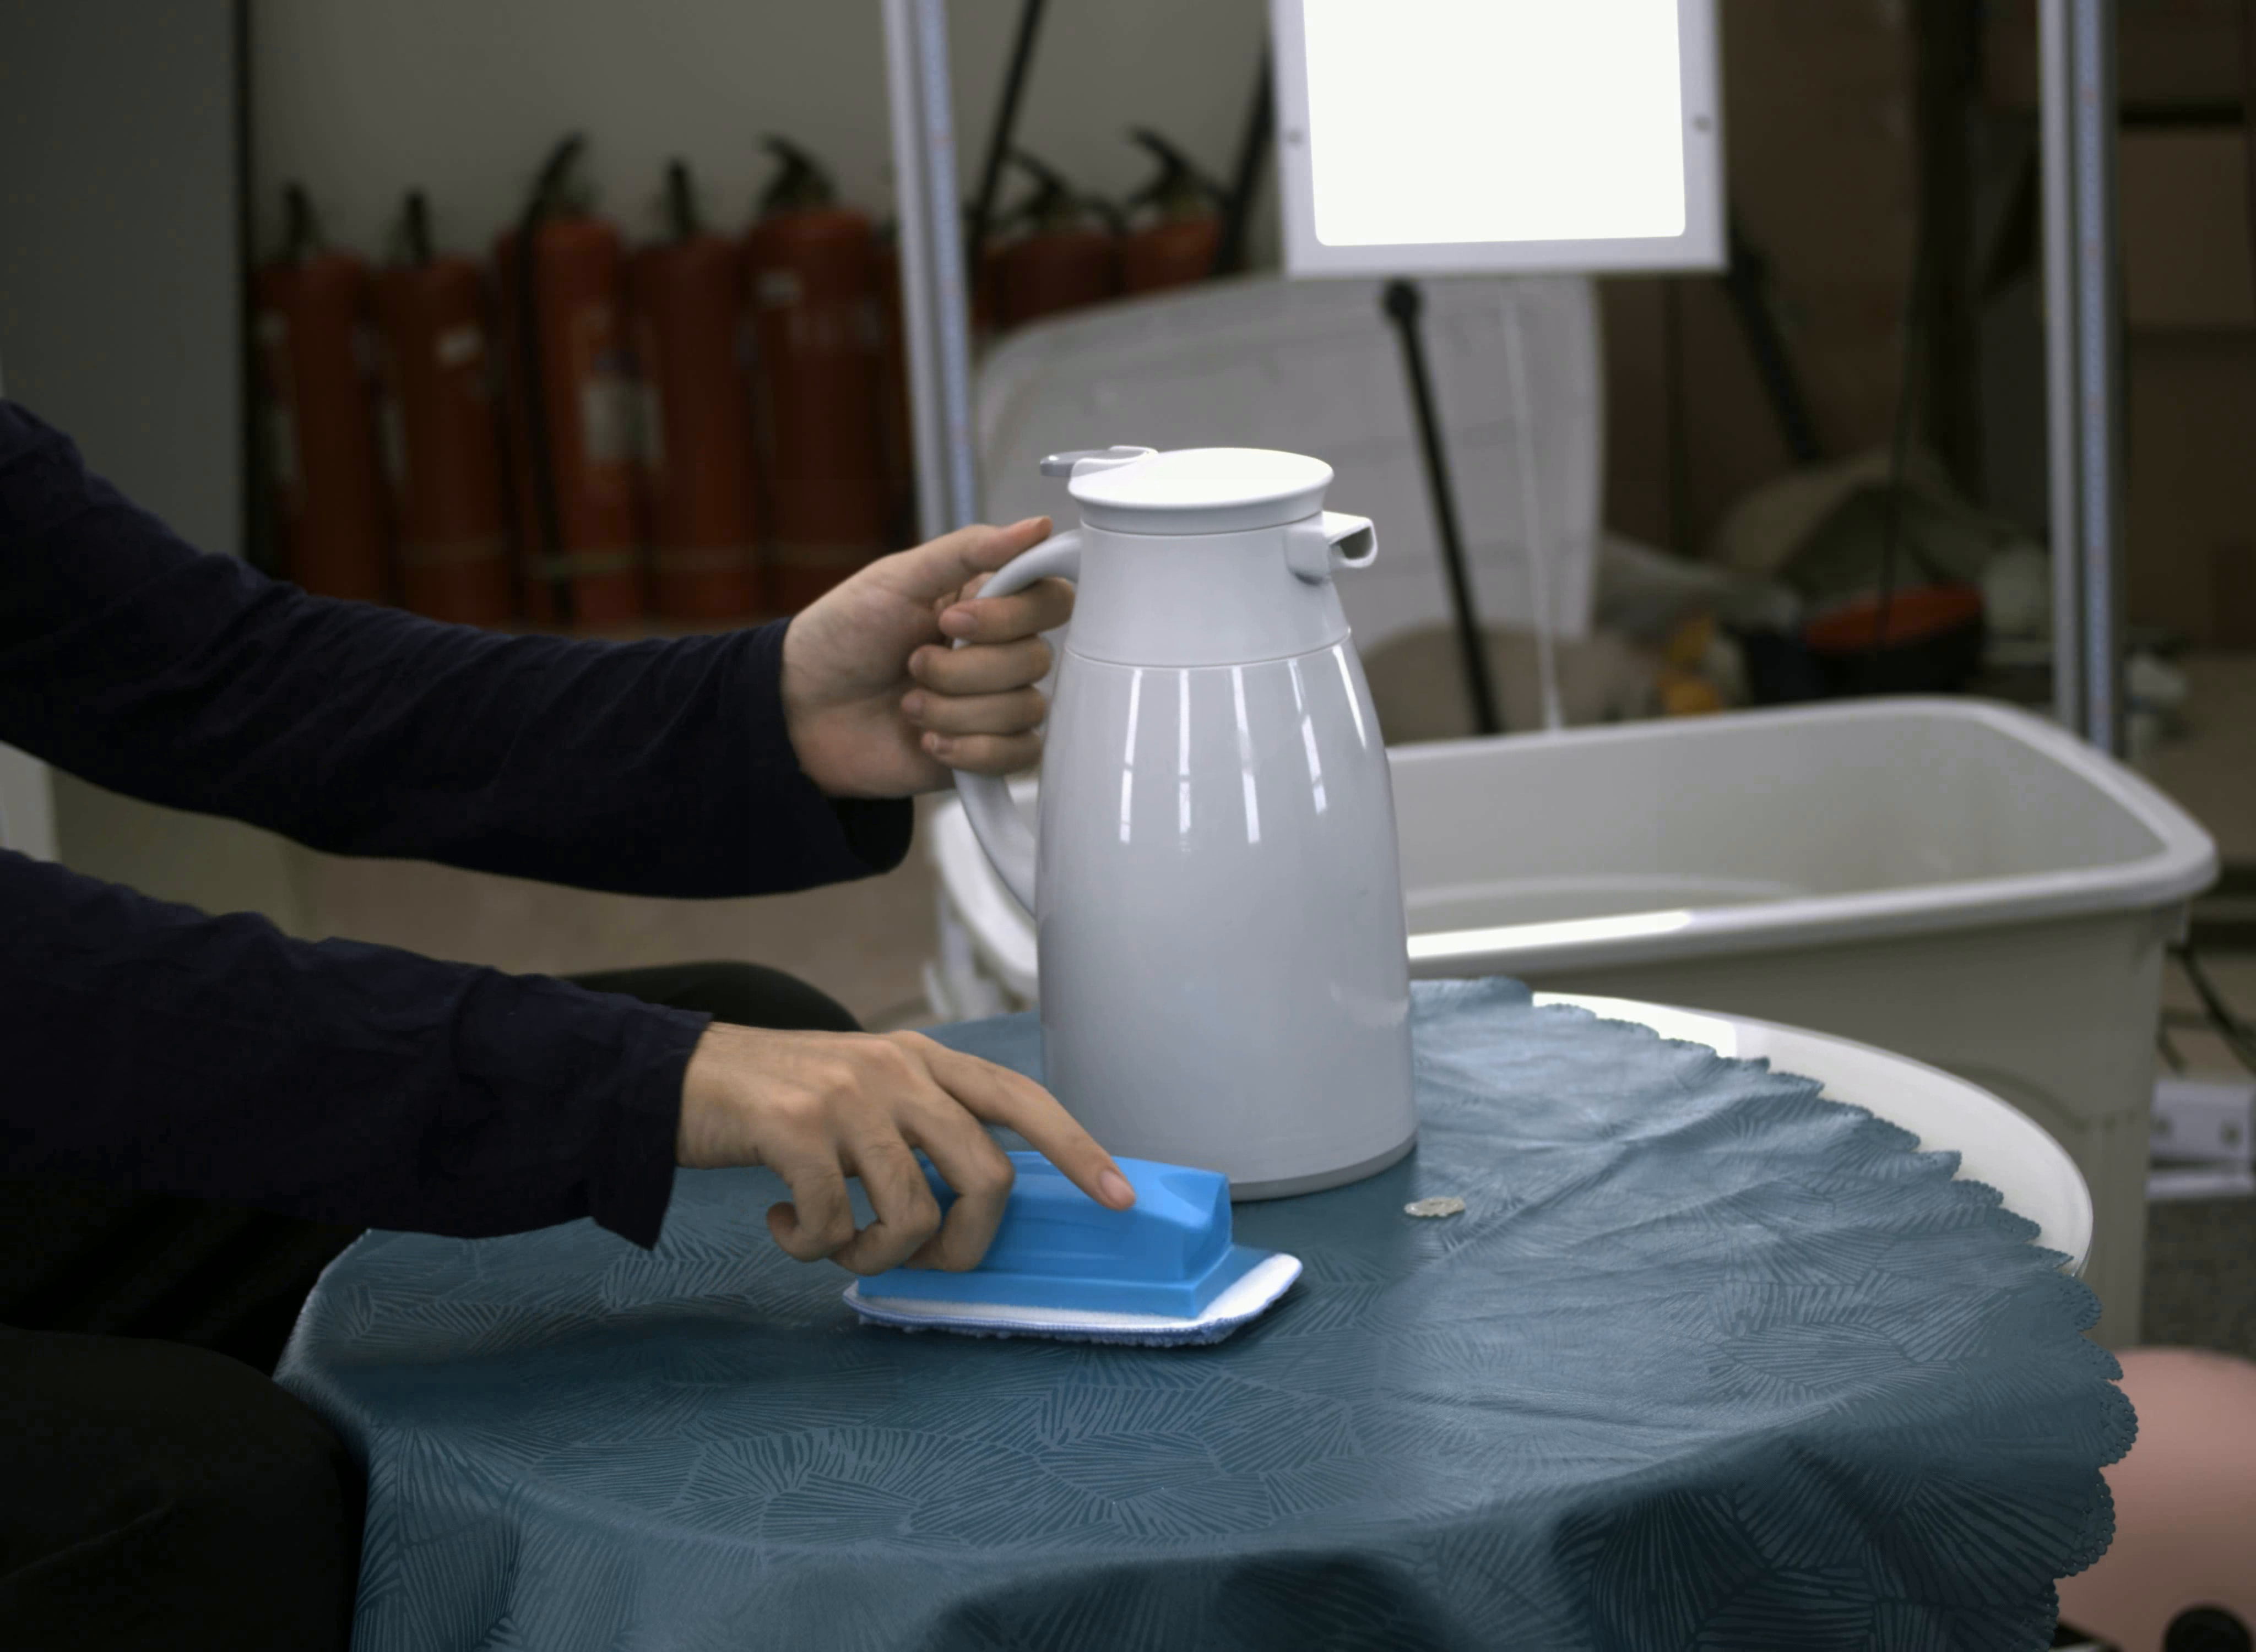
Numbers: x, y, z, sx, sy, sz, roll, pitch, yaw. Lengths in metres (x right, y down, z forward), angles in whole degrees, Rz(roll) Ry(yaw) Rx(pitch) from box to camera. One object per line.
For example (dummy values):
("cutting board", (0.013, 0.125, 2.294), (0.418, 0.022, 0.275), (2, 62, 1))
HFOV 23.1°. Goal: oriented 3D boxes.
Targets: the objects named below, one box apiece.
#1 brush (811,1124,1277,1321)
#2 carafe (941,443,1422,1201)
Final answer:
("brush", (-0.027, 0.127, 1.779), (0.146, 0.056, 0.082), (4, 13, 28))
("carafe", (0.013, -0.008, 1.914), (0.171, 0.249, 0.129), (3, 15, 28))
